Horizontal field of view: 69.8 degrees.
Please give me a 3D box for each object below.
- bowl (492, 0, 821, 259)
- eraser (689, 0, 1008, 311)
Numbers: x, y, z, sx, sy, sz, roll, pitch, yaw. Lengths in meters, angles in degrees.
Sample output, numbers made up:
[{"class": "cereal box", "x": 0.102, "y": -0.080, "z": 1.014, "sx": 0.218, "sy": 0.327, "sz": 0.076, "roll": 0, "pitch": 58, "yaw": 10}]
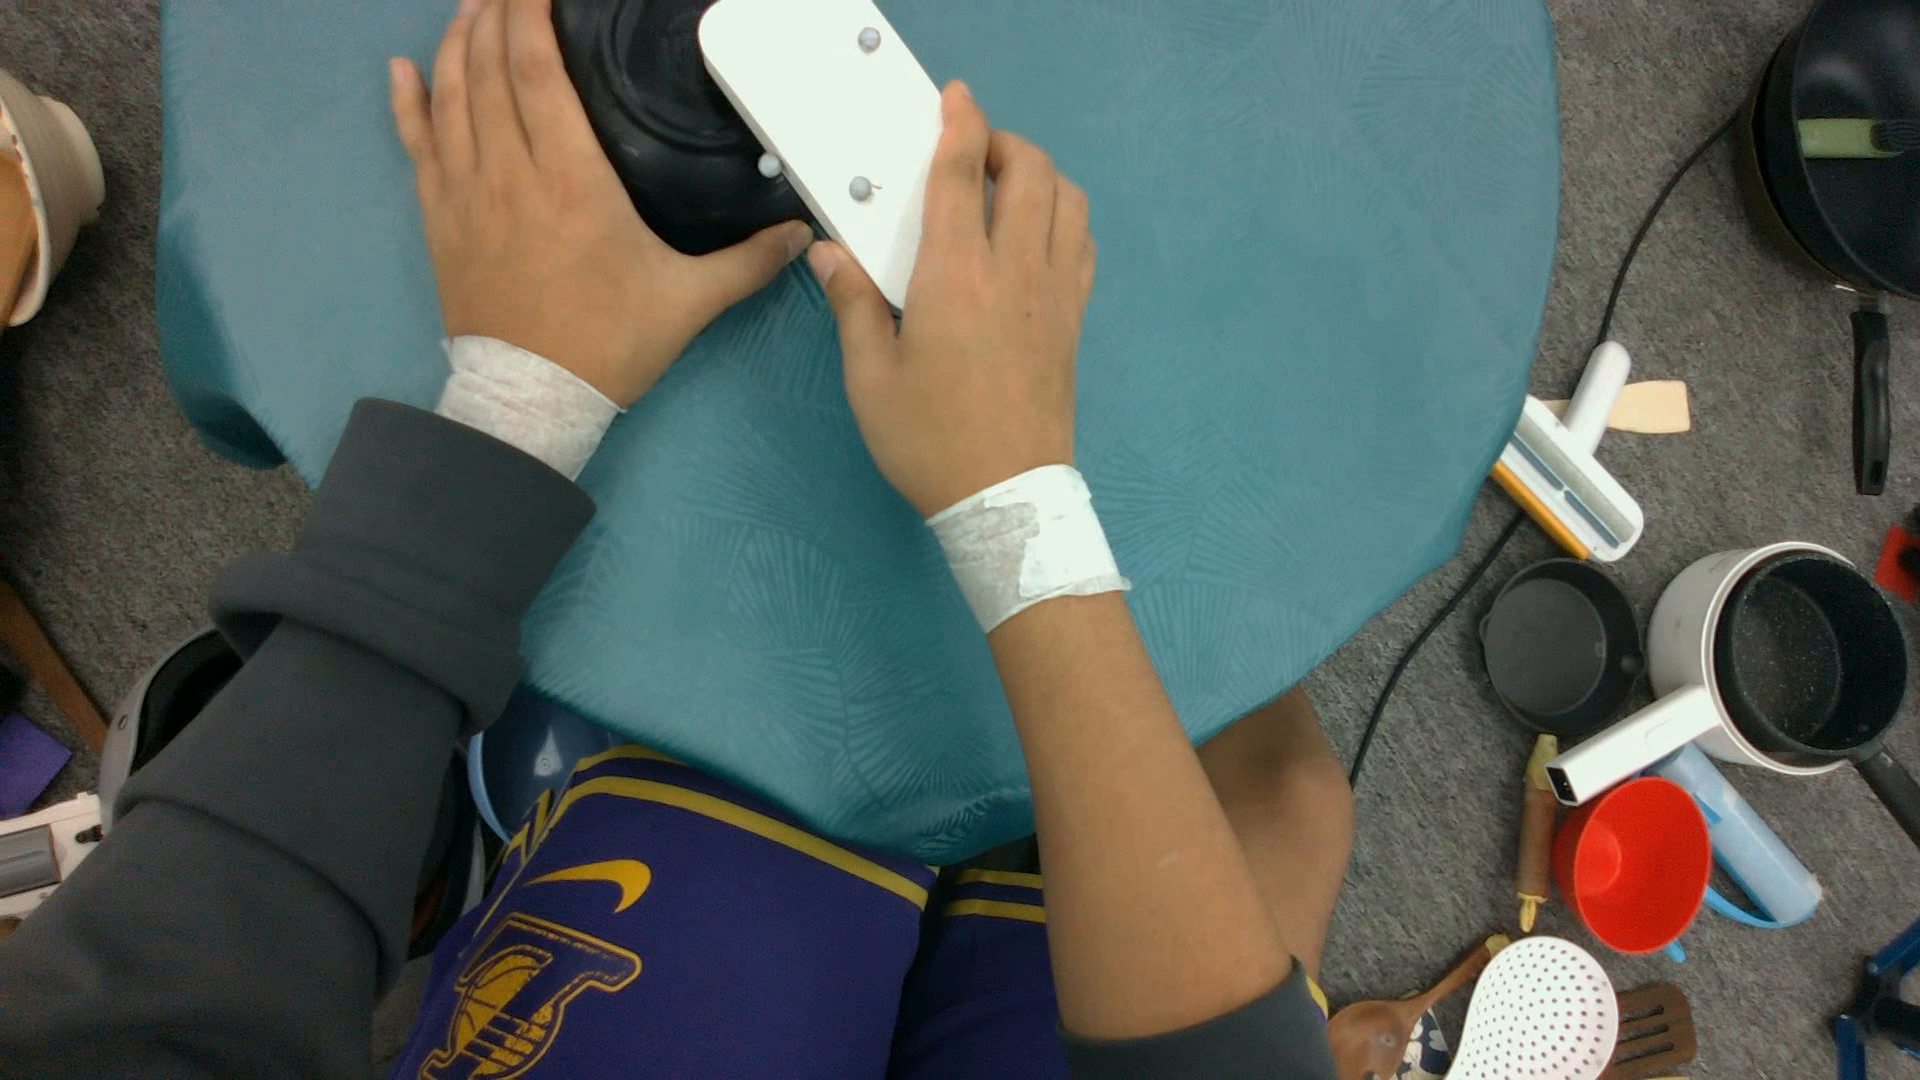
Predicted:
[{"class": "bowl", "x": -0.107, "y": -0.182, "z": 0.531, "sx": 0.140, "sy": 0.049, "sz": 0.140, "roll": 1, "pitch": 86, "yaw": -20}, {"class": "eraser", "x": -0.042, "y": -0.147, "z": 0.504, "sx": 0.063, "sy": 0.034, "sz": 0.131, "roll": -37, "pitch": 90, "yaw": -11}]
